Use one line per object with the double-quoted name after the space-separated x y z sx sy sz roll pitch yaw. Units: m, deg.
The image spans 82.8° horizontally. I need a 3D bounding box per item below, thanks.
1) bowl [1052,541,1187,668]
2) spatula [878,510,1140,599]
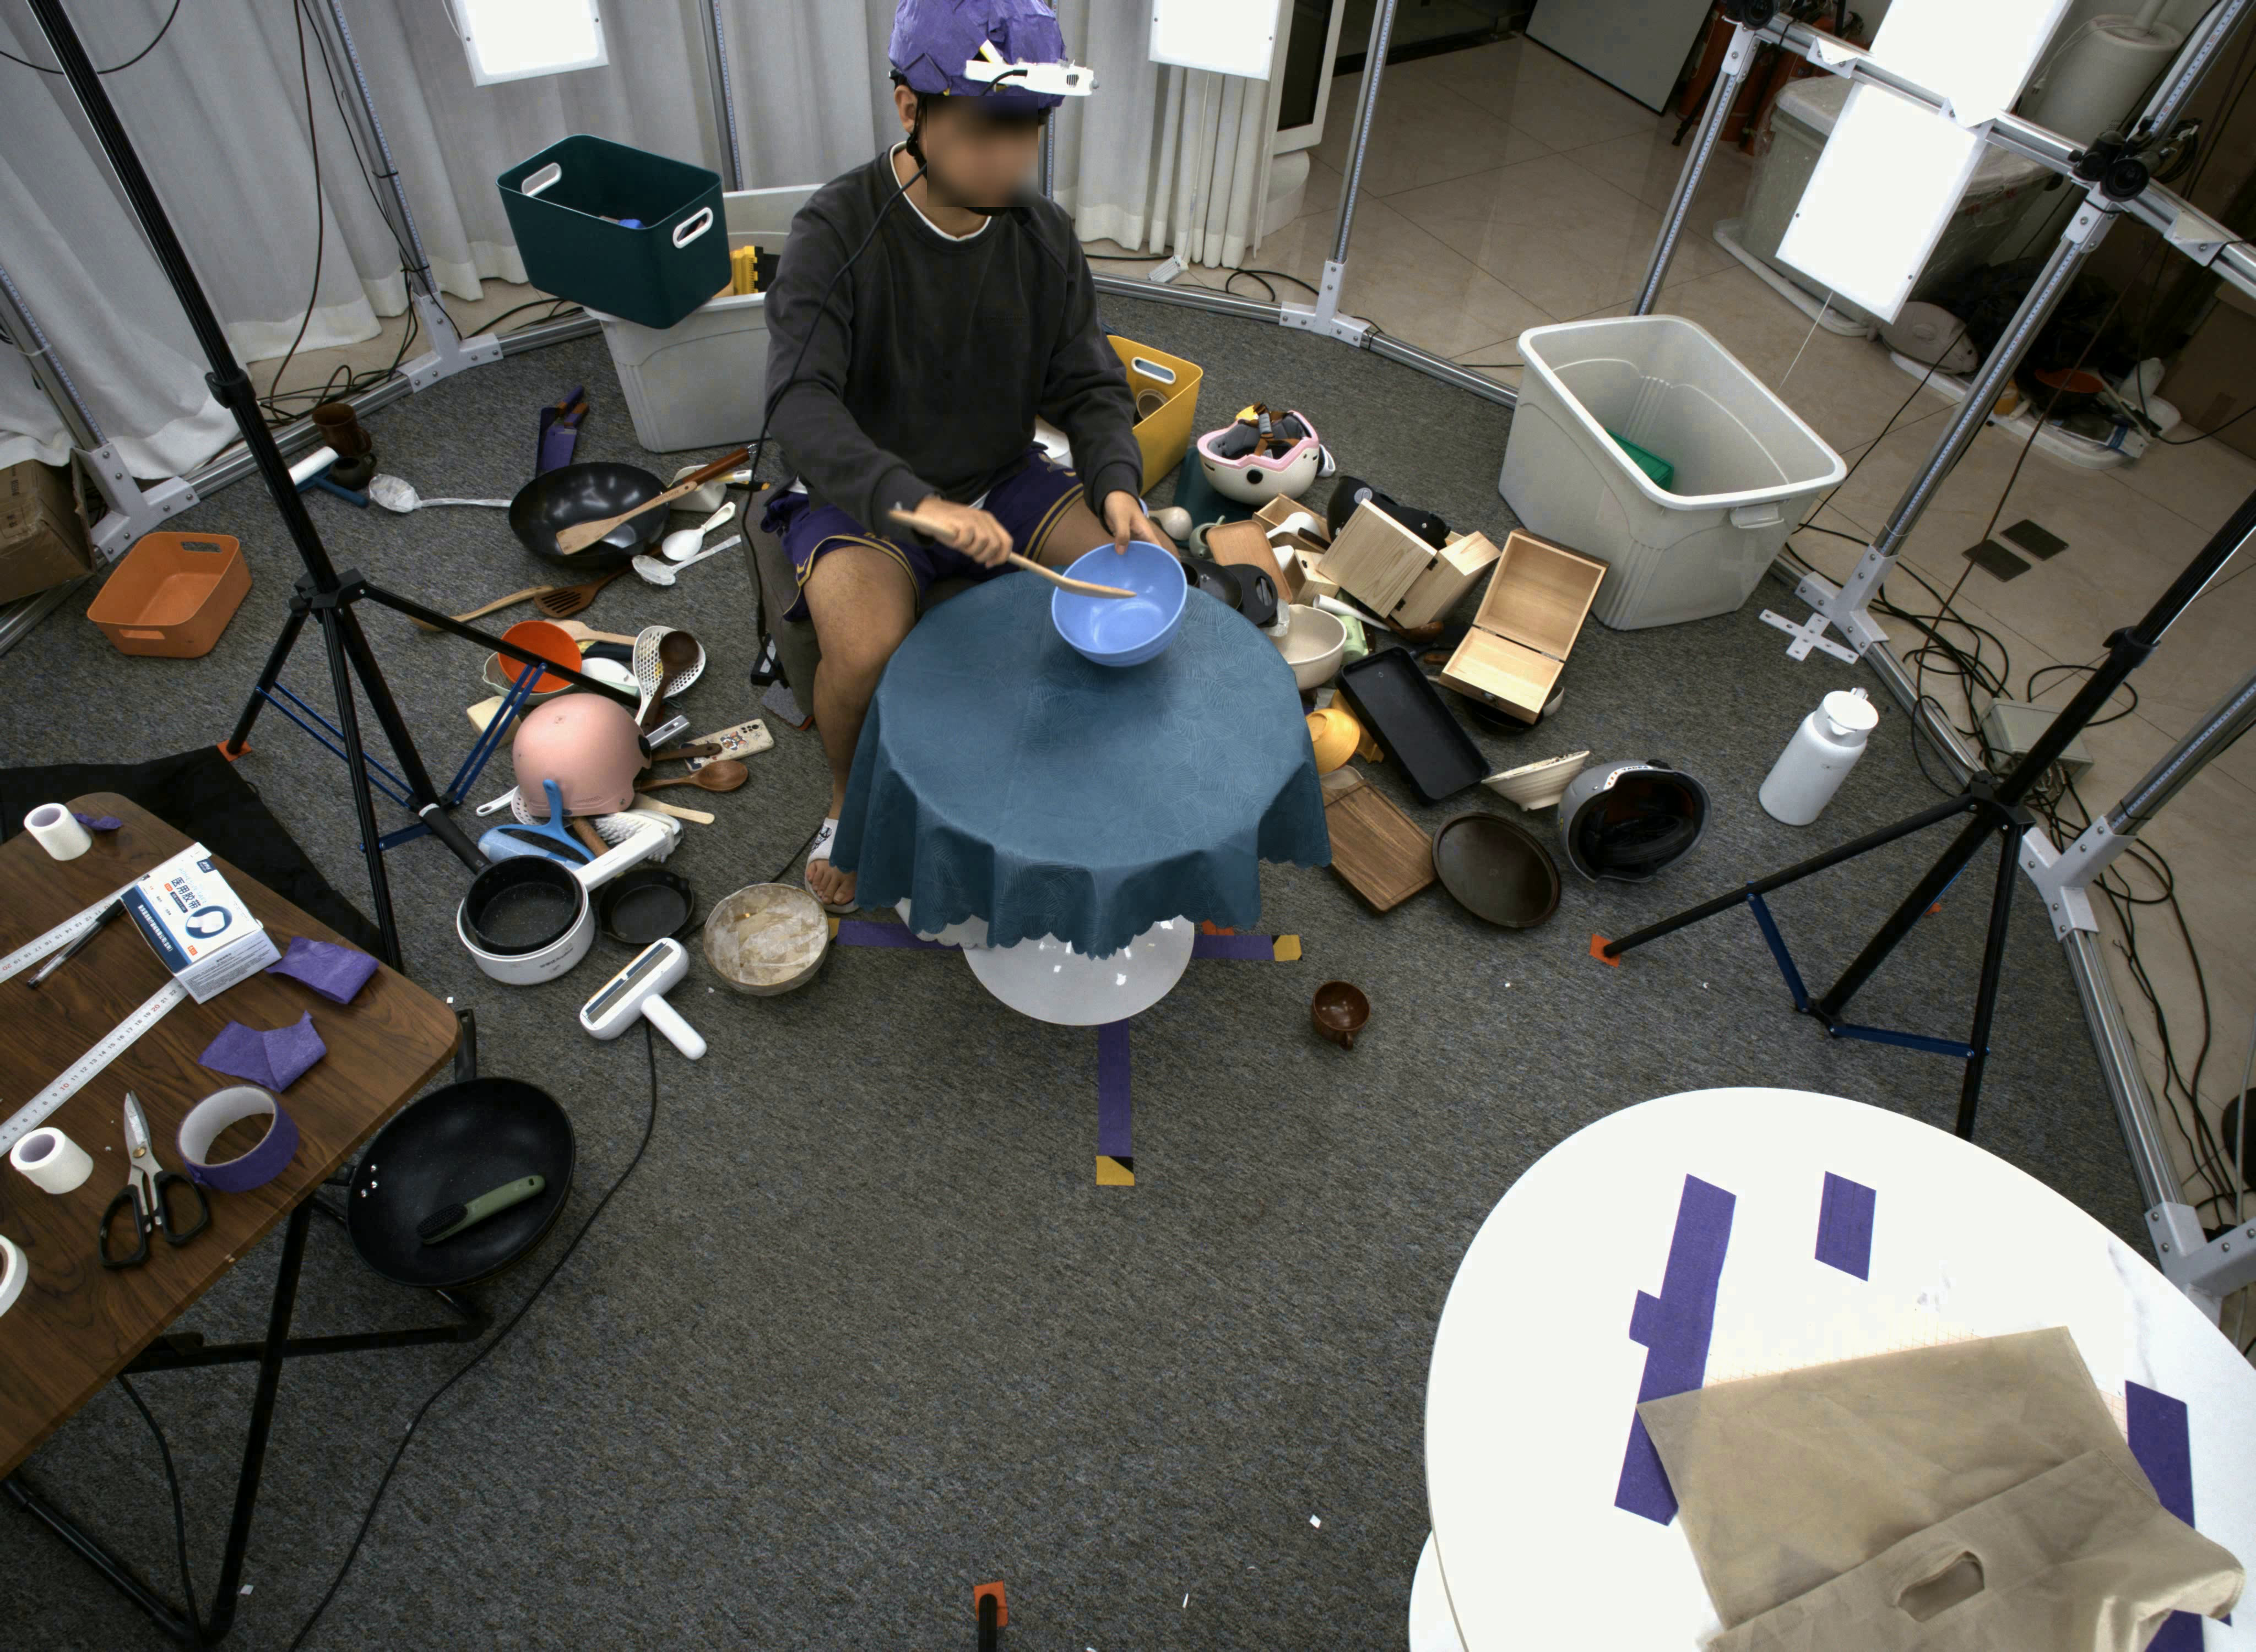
-0.002 -0.303 1.849 0.196 0.093 0.201 -7 61 12 "bowl"
-0.144 -0.336 1.626 0.386 0.018 0.096 12 -2 -43 "spatula"
